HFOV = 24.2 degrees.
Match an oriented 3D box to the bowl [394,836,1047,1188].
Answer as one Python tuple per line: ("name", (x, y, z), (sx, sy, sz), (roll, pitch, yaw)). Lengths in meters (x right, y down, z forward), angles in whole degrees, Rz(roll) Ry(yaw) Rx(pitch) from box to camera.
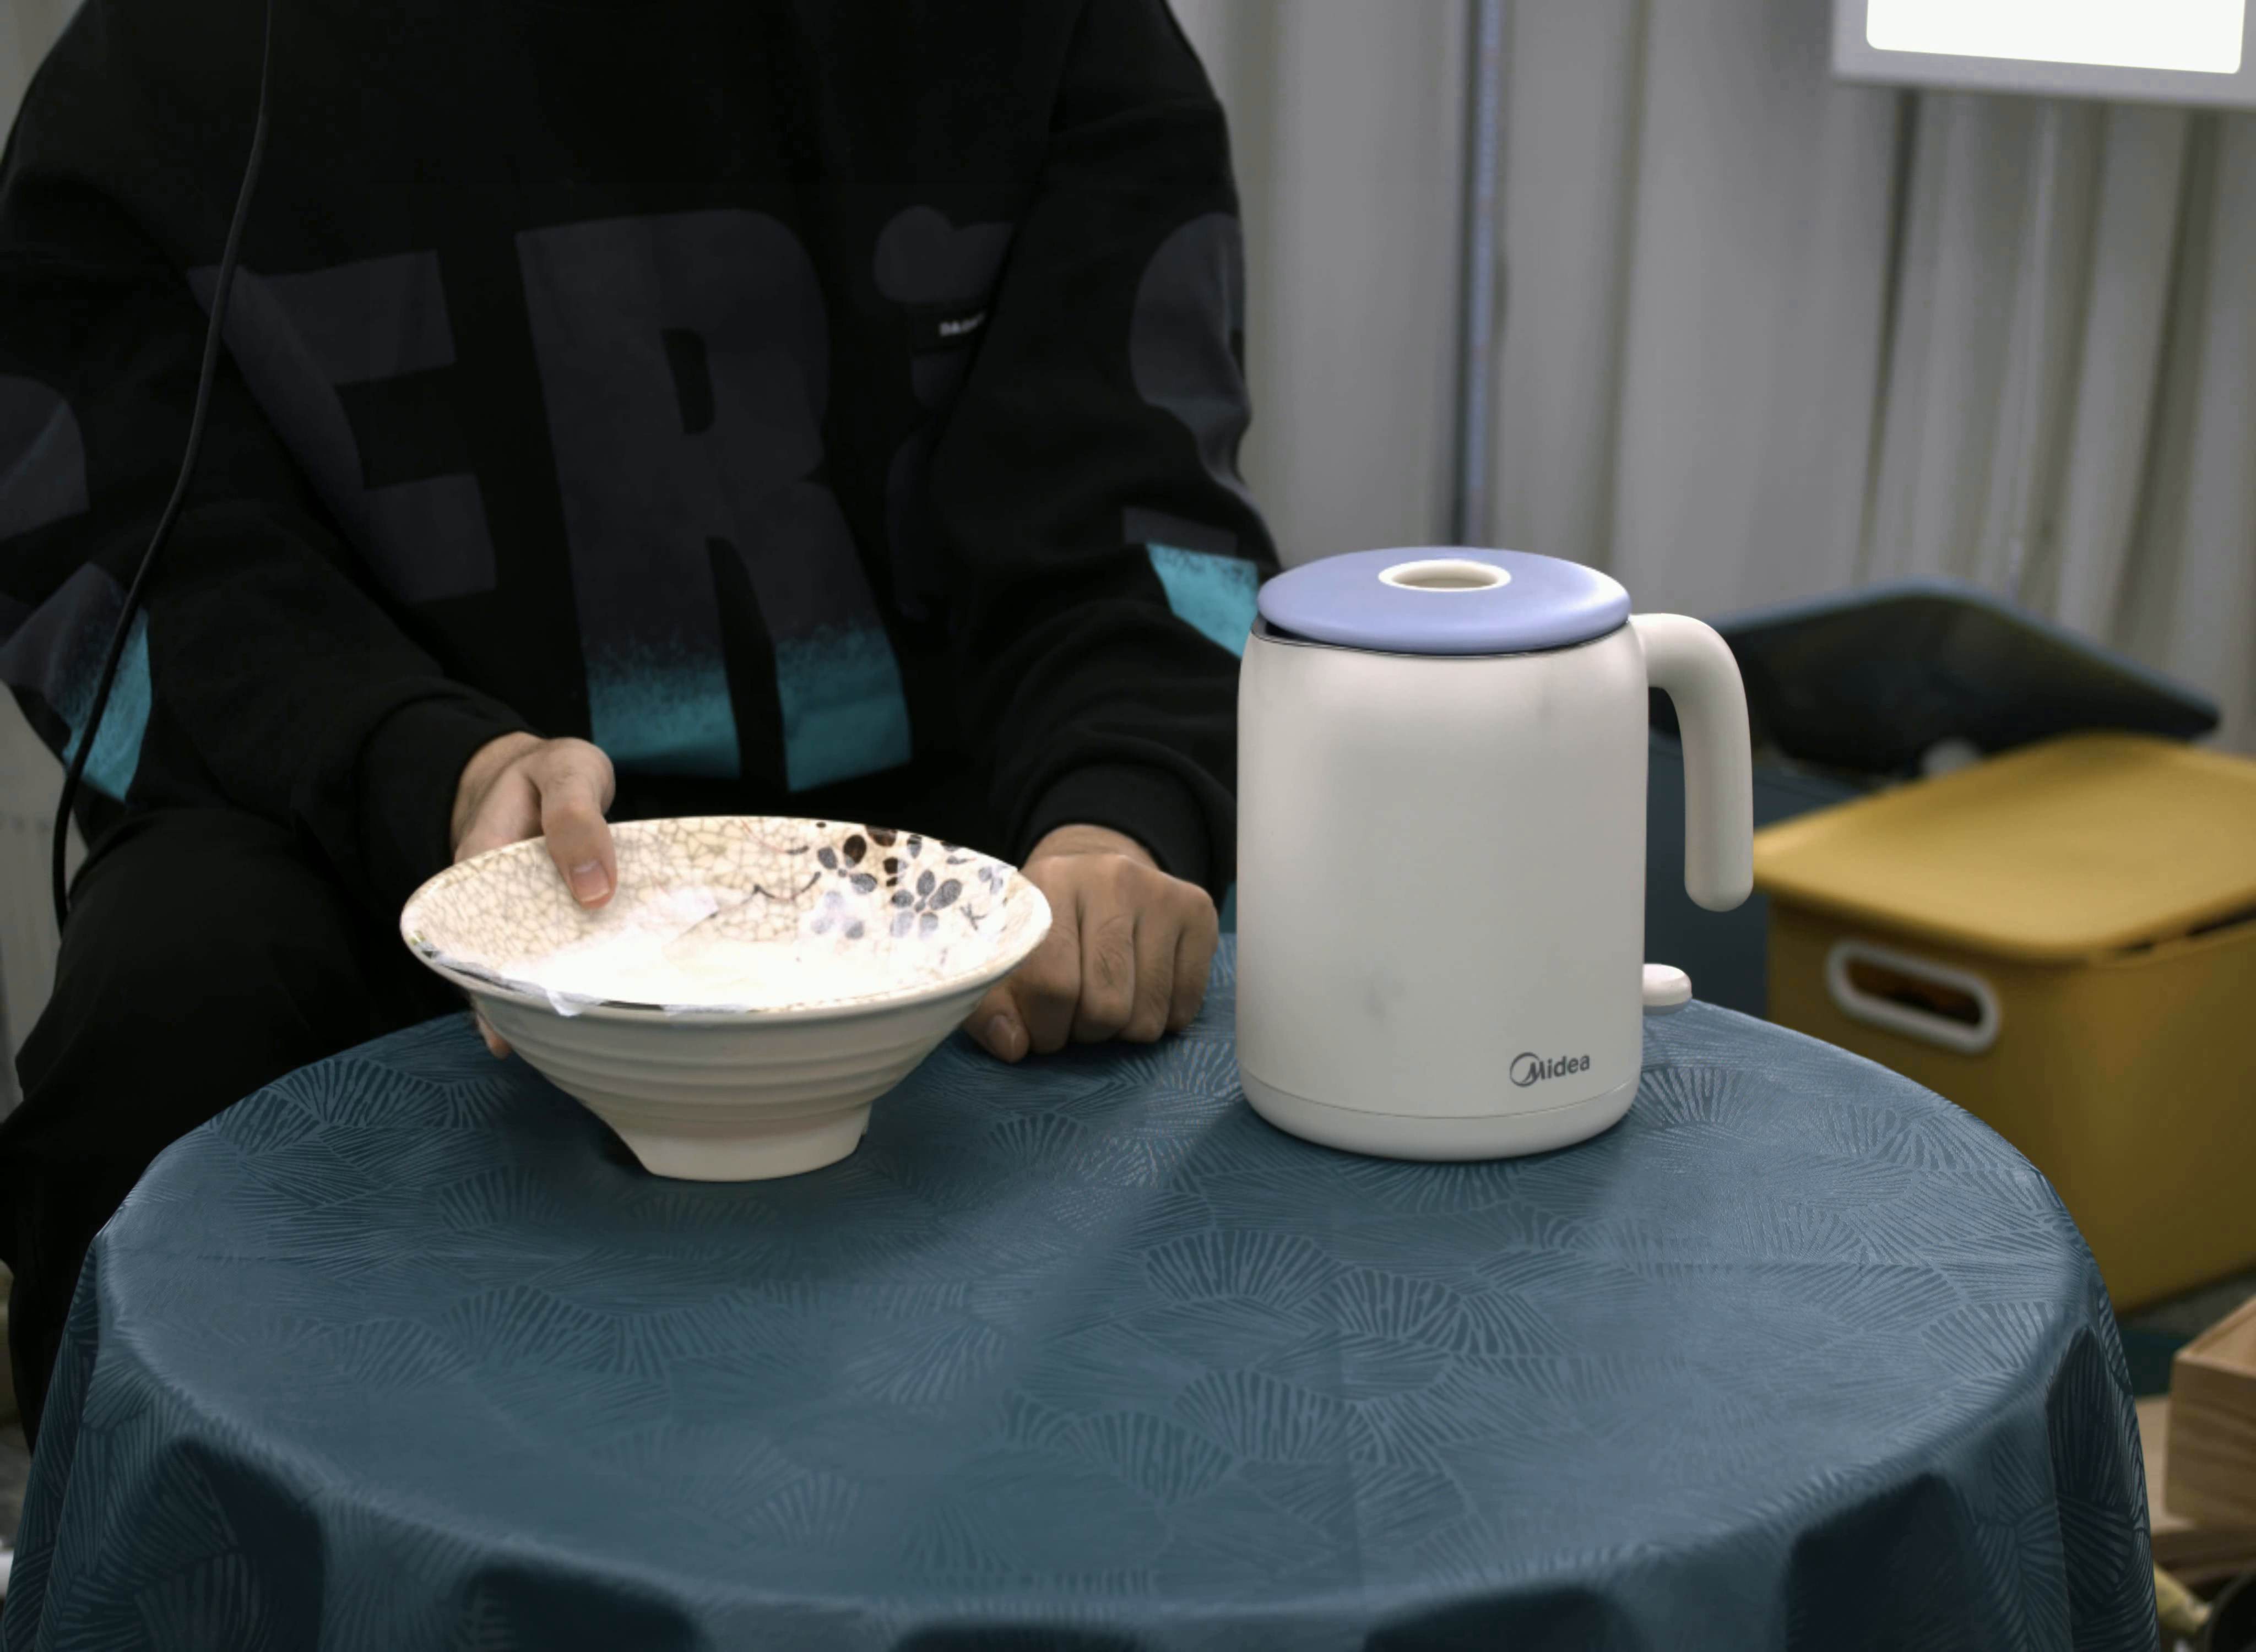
("bowl", (-0.127, 0.064, 1.650), (0.203, 0.078, 0.203), (1, 14, 0))

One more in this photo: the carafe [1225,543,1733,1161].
("carafe", (0.119, 0.005, 1.692), (0.192, 0.184, 0.130), (-7, 18, -31))
